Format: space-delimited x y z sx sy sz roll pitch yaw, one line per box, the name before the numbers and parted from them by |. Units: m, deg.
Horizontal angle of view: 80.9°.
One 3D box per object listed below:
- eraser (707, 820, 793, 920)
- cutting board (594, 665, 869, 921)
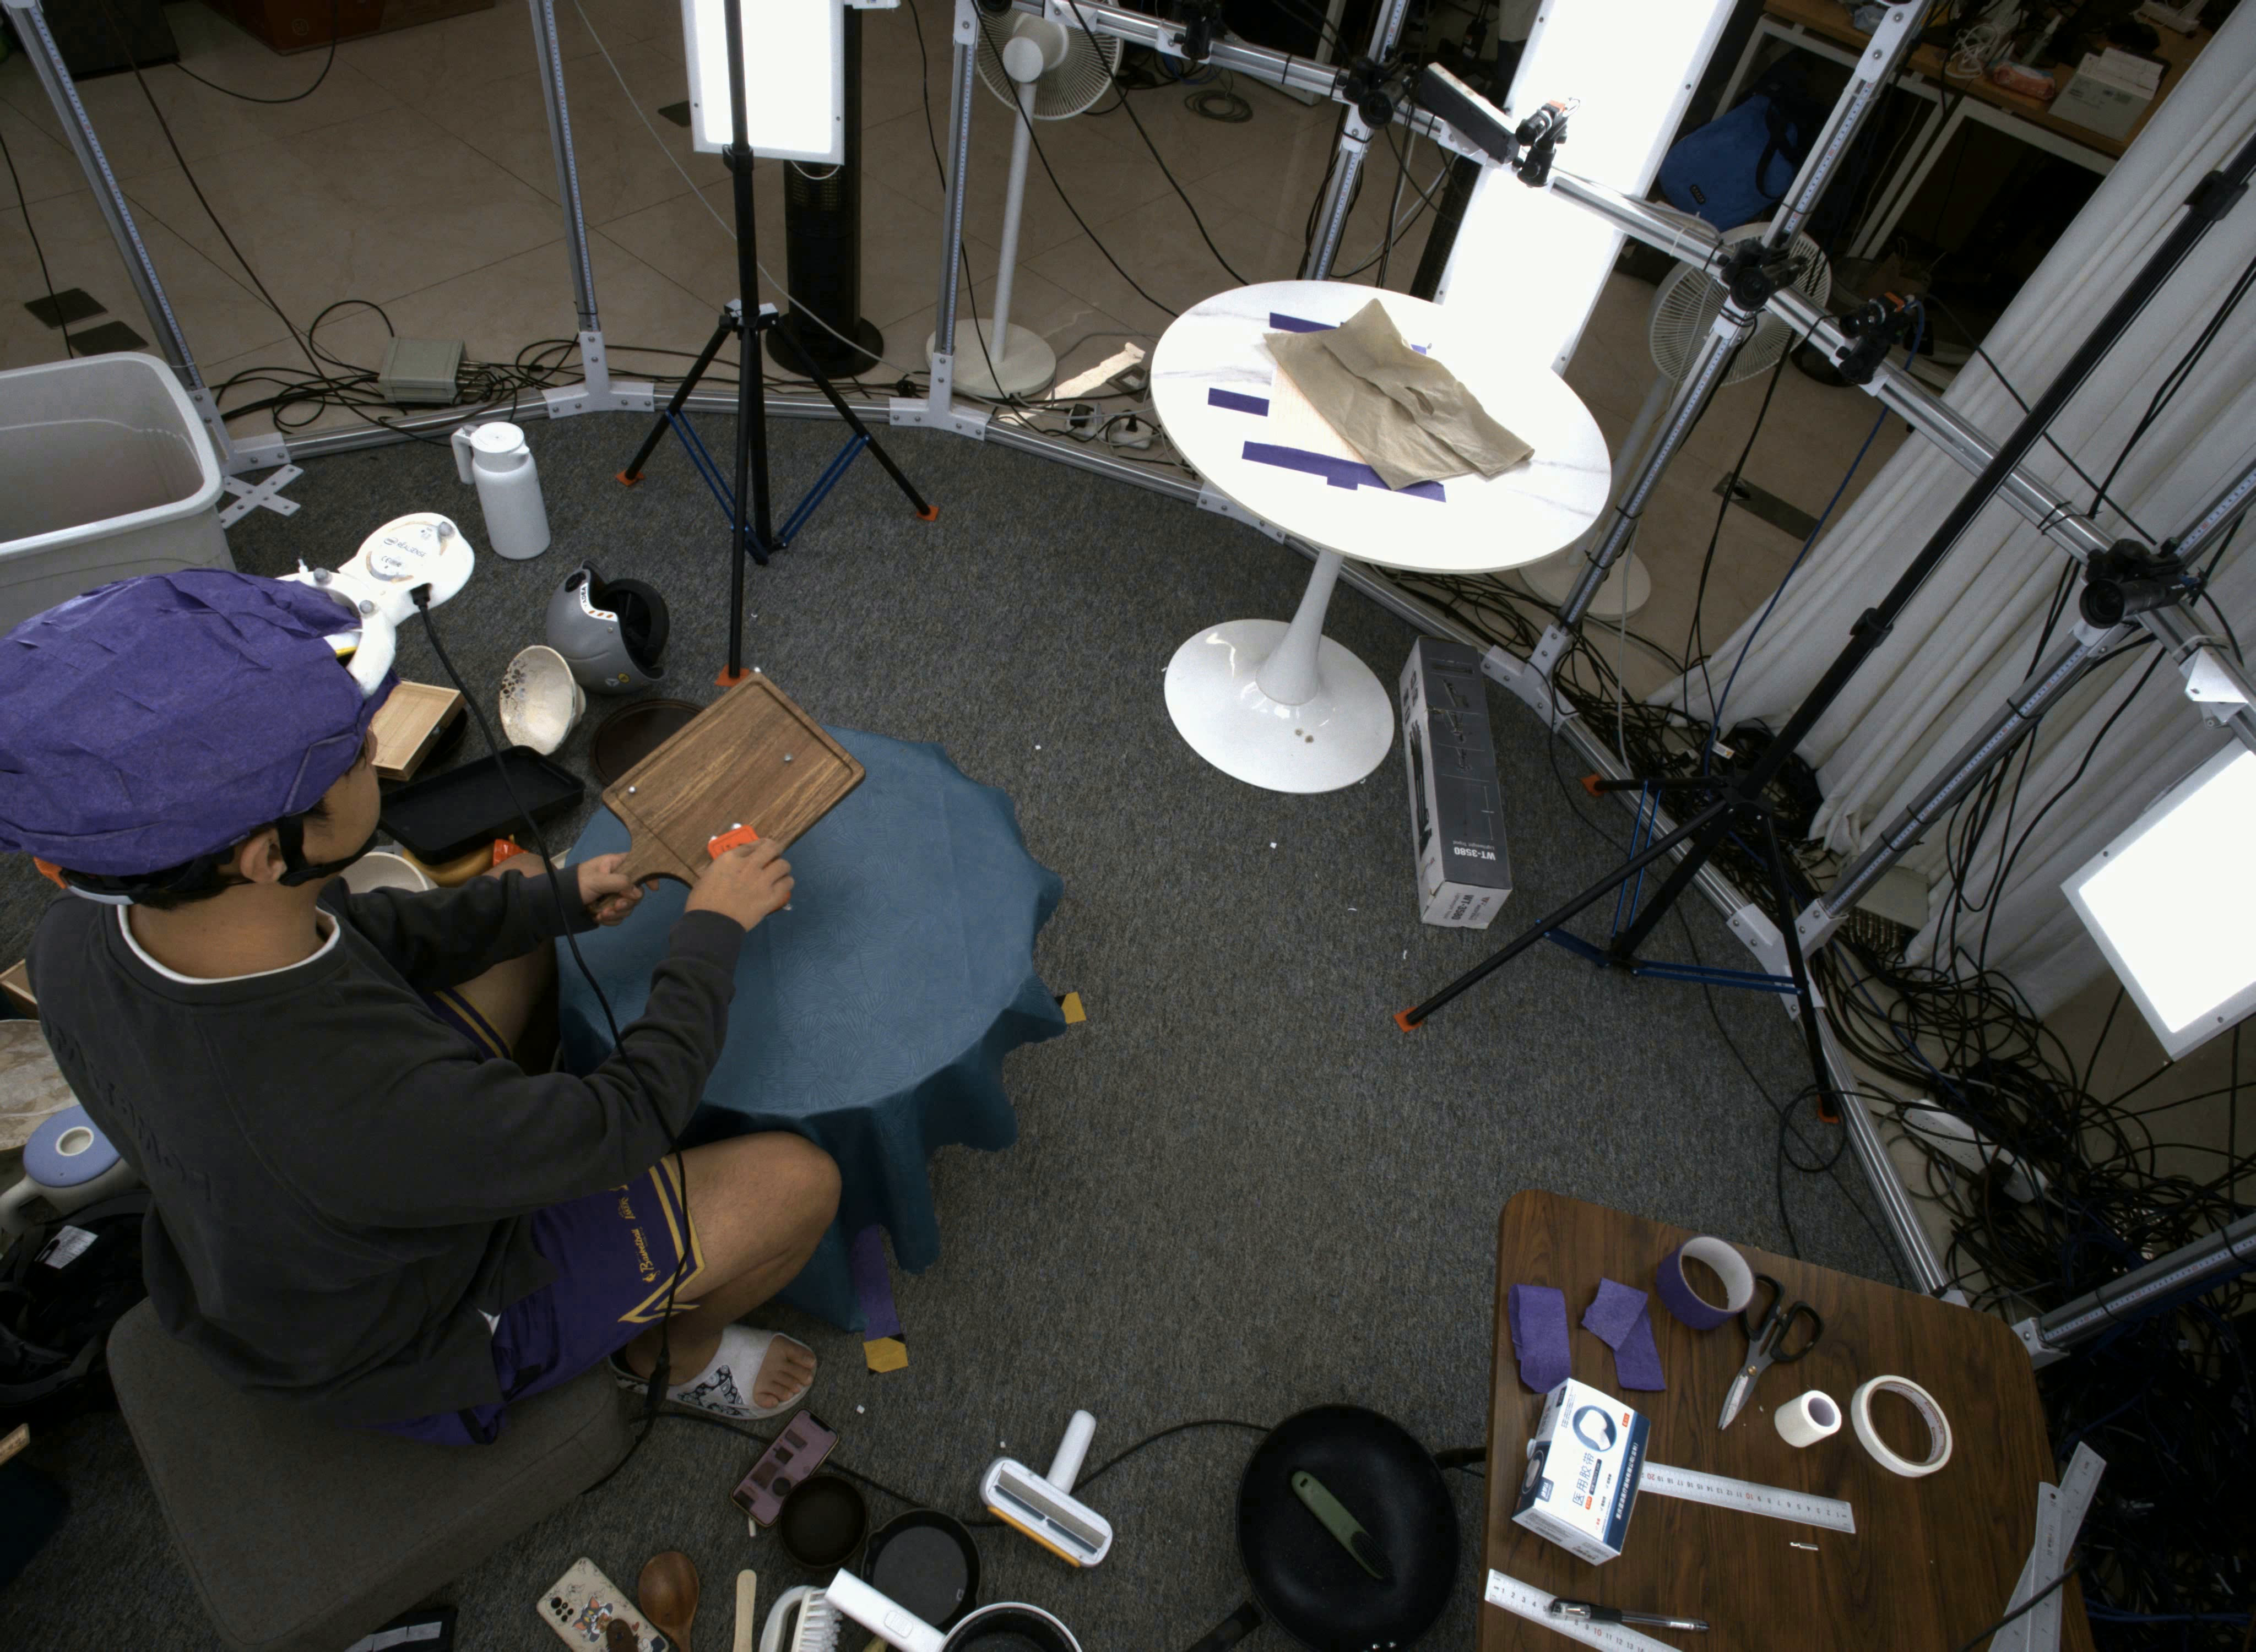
eraser | -0.435 0.048 1.489 0.059 0.023 0.107 -31 79 -21
cutting board | -0.496 -0.020 1.525 0.200 0.023 0.352 42 65 3
